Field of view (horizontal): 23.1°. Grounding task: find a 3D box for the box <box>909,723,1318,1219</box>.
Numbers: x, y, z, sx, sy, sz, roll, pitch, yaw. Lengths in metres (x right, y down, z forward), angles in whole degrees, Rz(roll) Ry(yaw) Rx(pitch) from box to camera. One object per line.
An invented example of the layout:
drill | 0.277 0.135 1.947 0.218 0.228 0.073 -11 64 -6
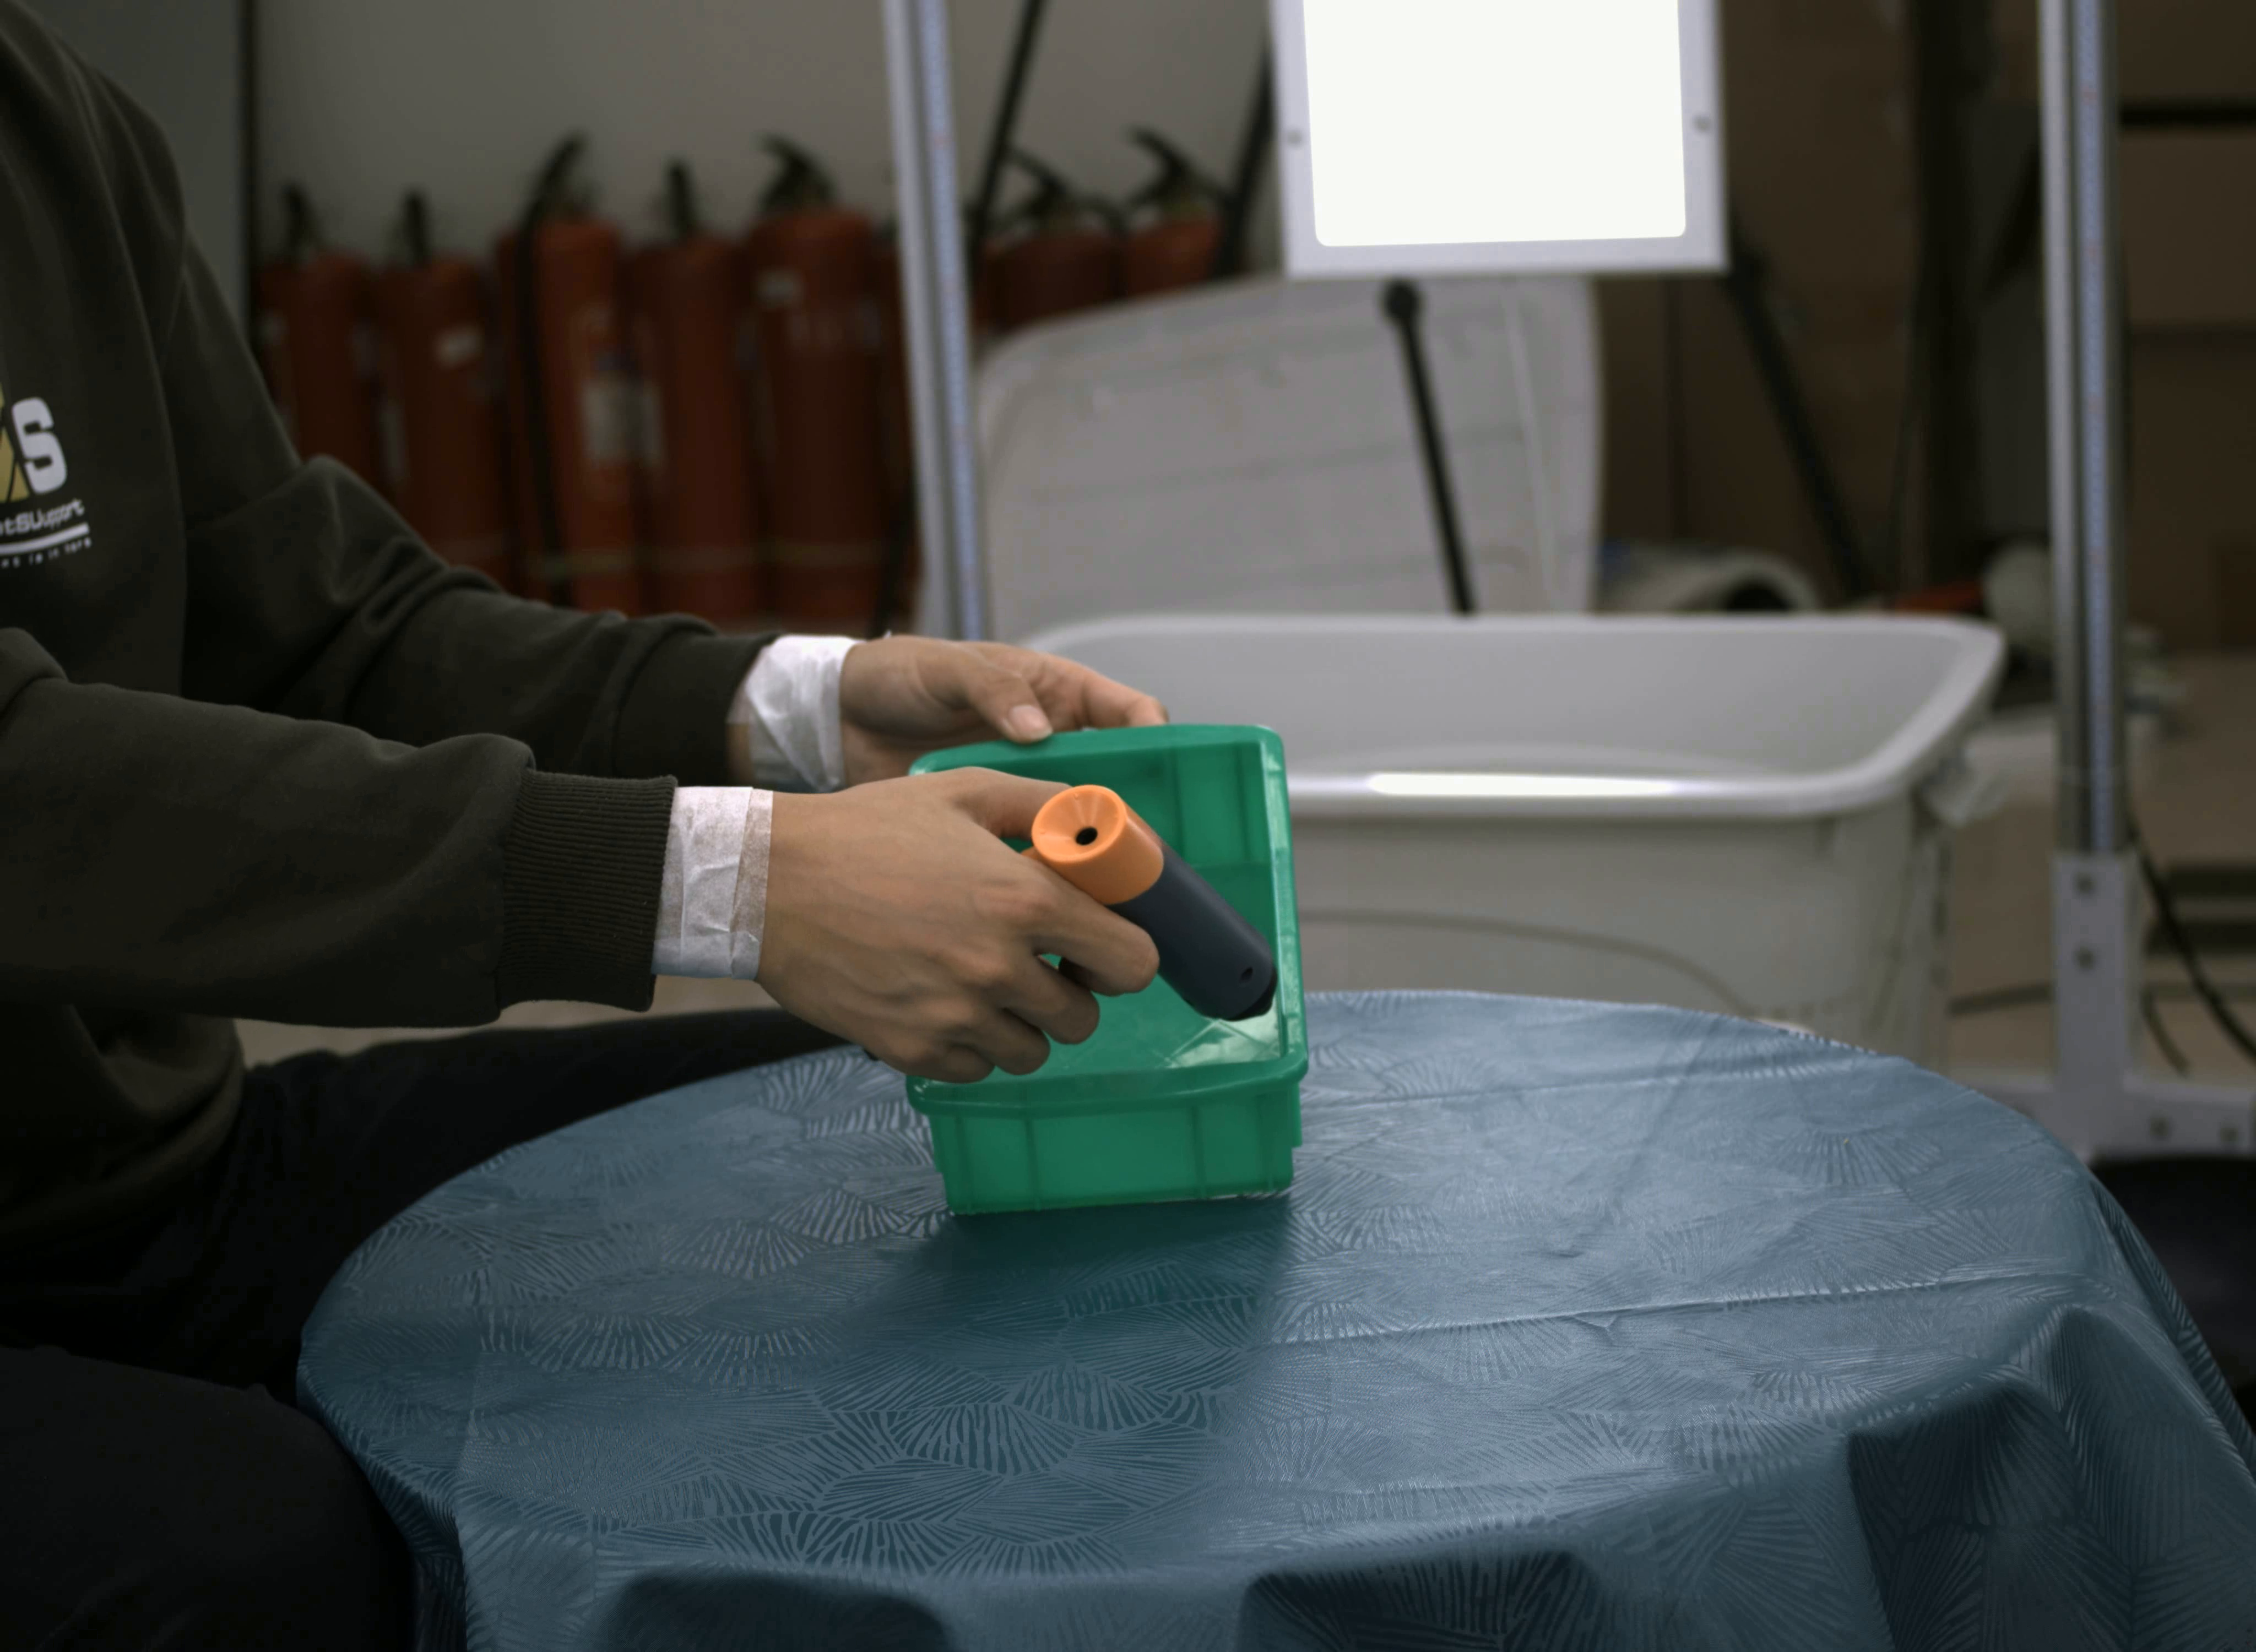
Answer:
box | -0.005 0.053 1.939 0.138 0.065 0.210 -7 39 3

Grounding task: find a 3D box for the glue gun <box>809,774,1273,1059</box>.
glue gun | -0.028 0.039 1.844 0.141 0.117 0.041 -10 44 13
